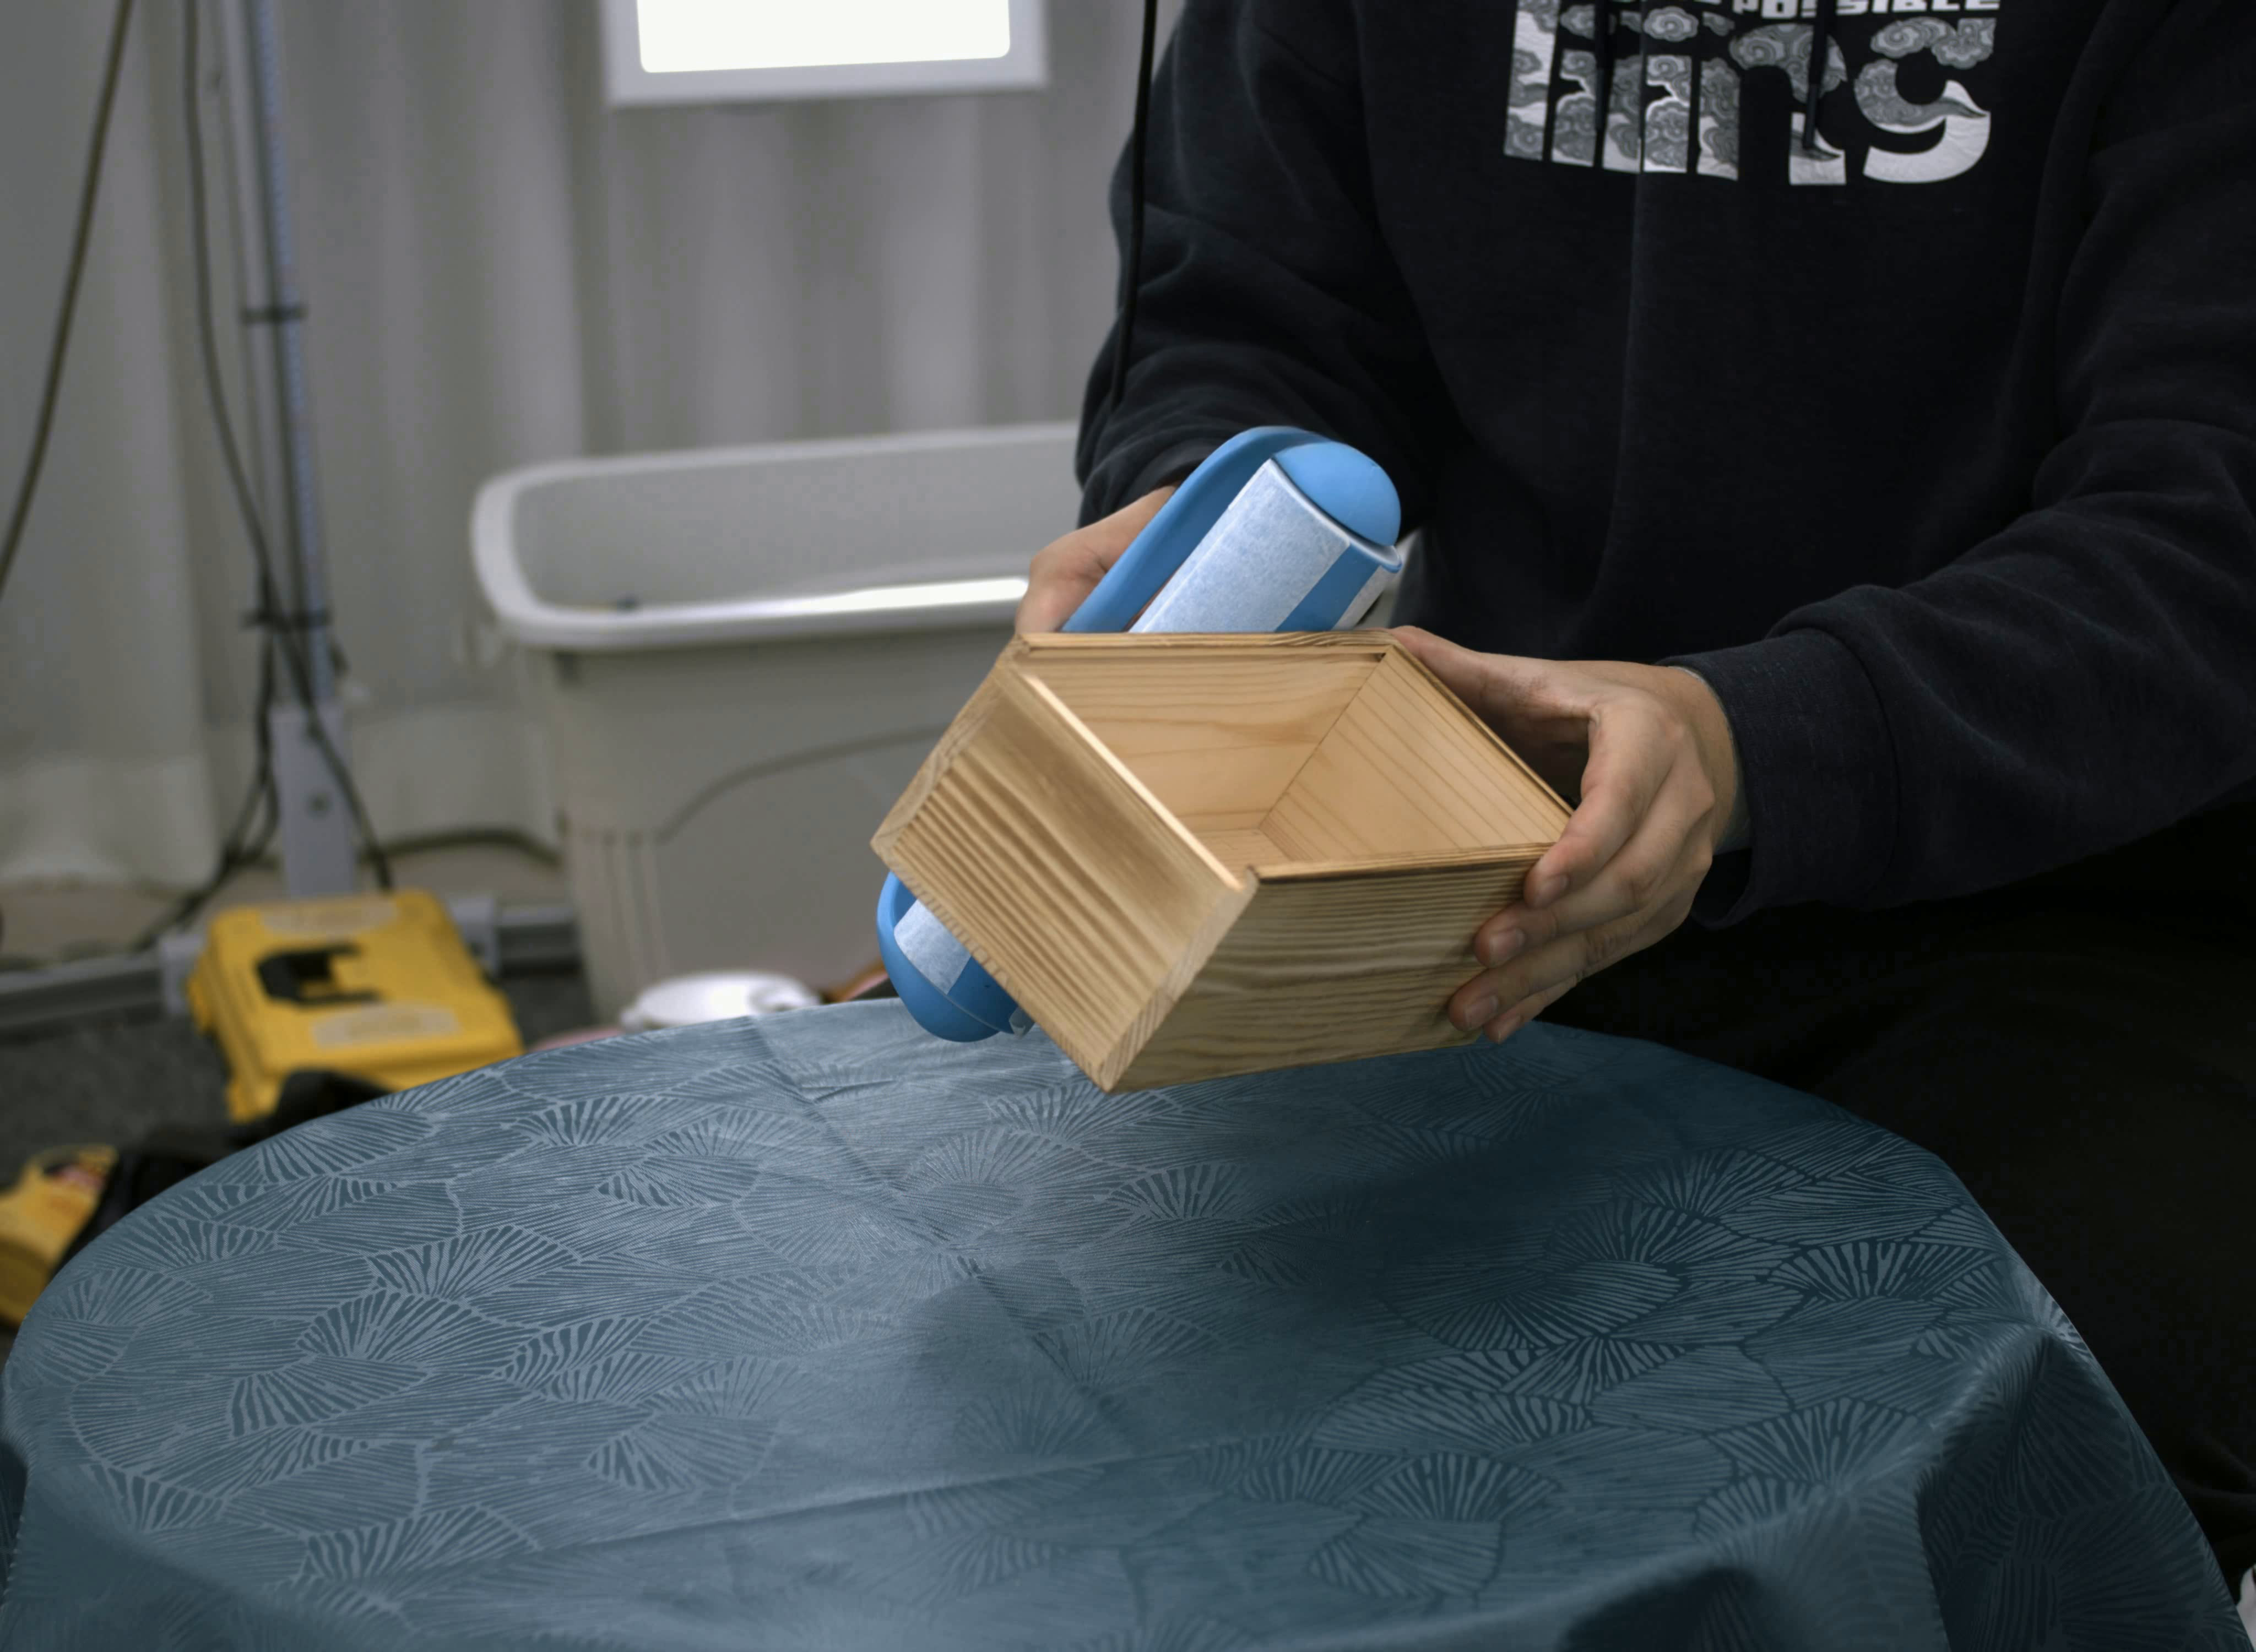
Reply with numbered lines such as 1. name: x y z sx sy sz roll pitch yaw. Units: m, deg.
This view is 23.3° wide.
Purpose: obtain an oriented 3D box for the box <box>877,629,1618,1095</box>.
1. box: 0.038 0.007 1.600 0.108 0.080 0.210 45 23 22

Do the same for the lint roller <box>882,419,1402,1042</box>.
1. lint roller: 0.002 -0.043 1.755 0.067 0.228 0.182 34 12 -12
